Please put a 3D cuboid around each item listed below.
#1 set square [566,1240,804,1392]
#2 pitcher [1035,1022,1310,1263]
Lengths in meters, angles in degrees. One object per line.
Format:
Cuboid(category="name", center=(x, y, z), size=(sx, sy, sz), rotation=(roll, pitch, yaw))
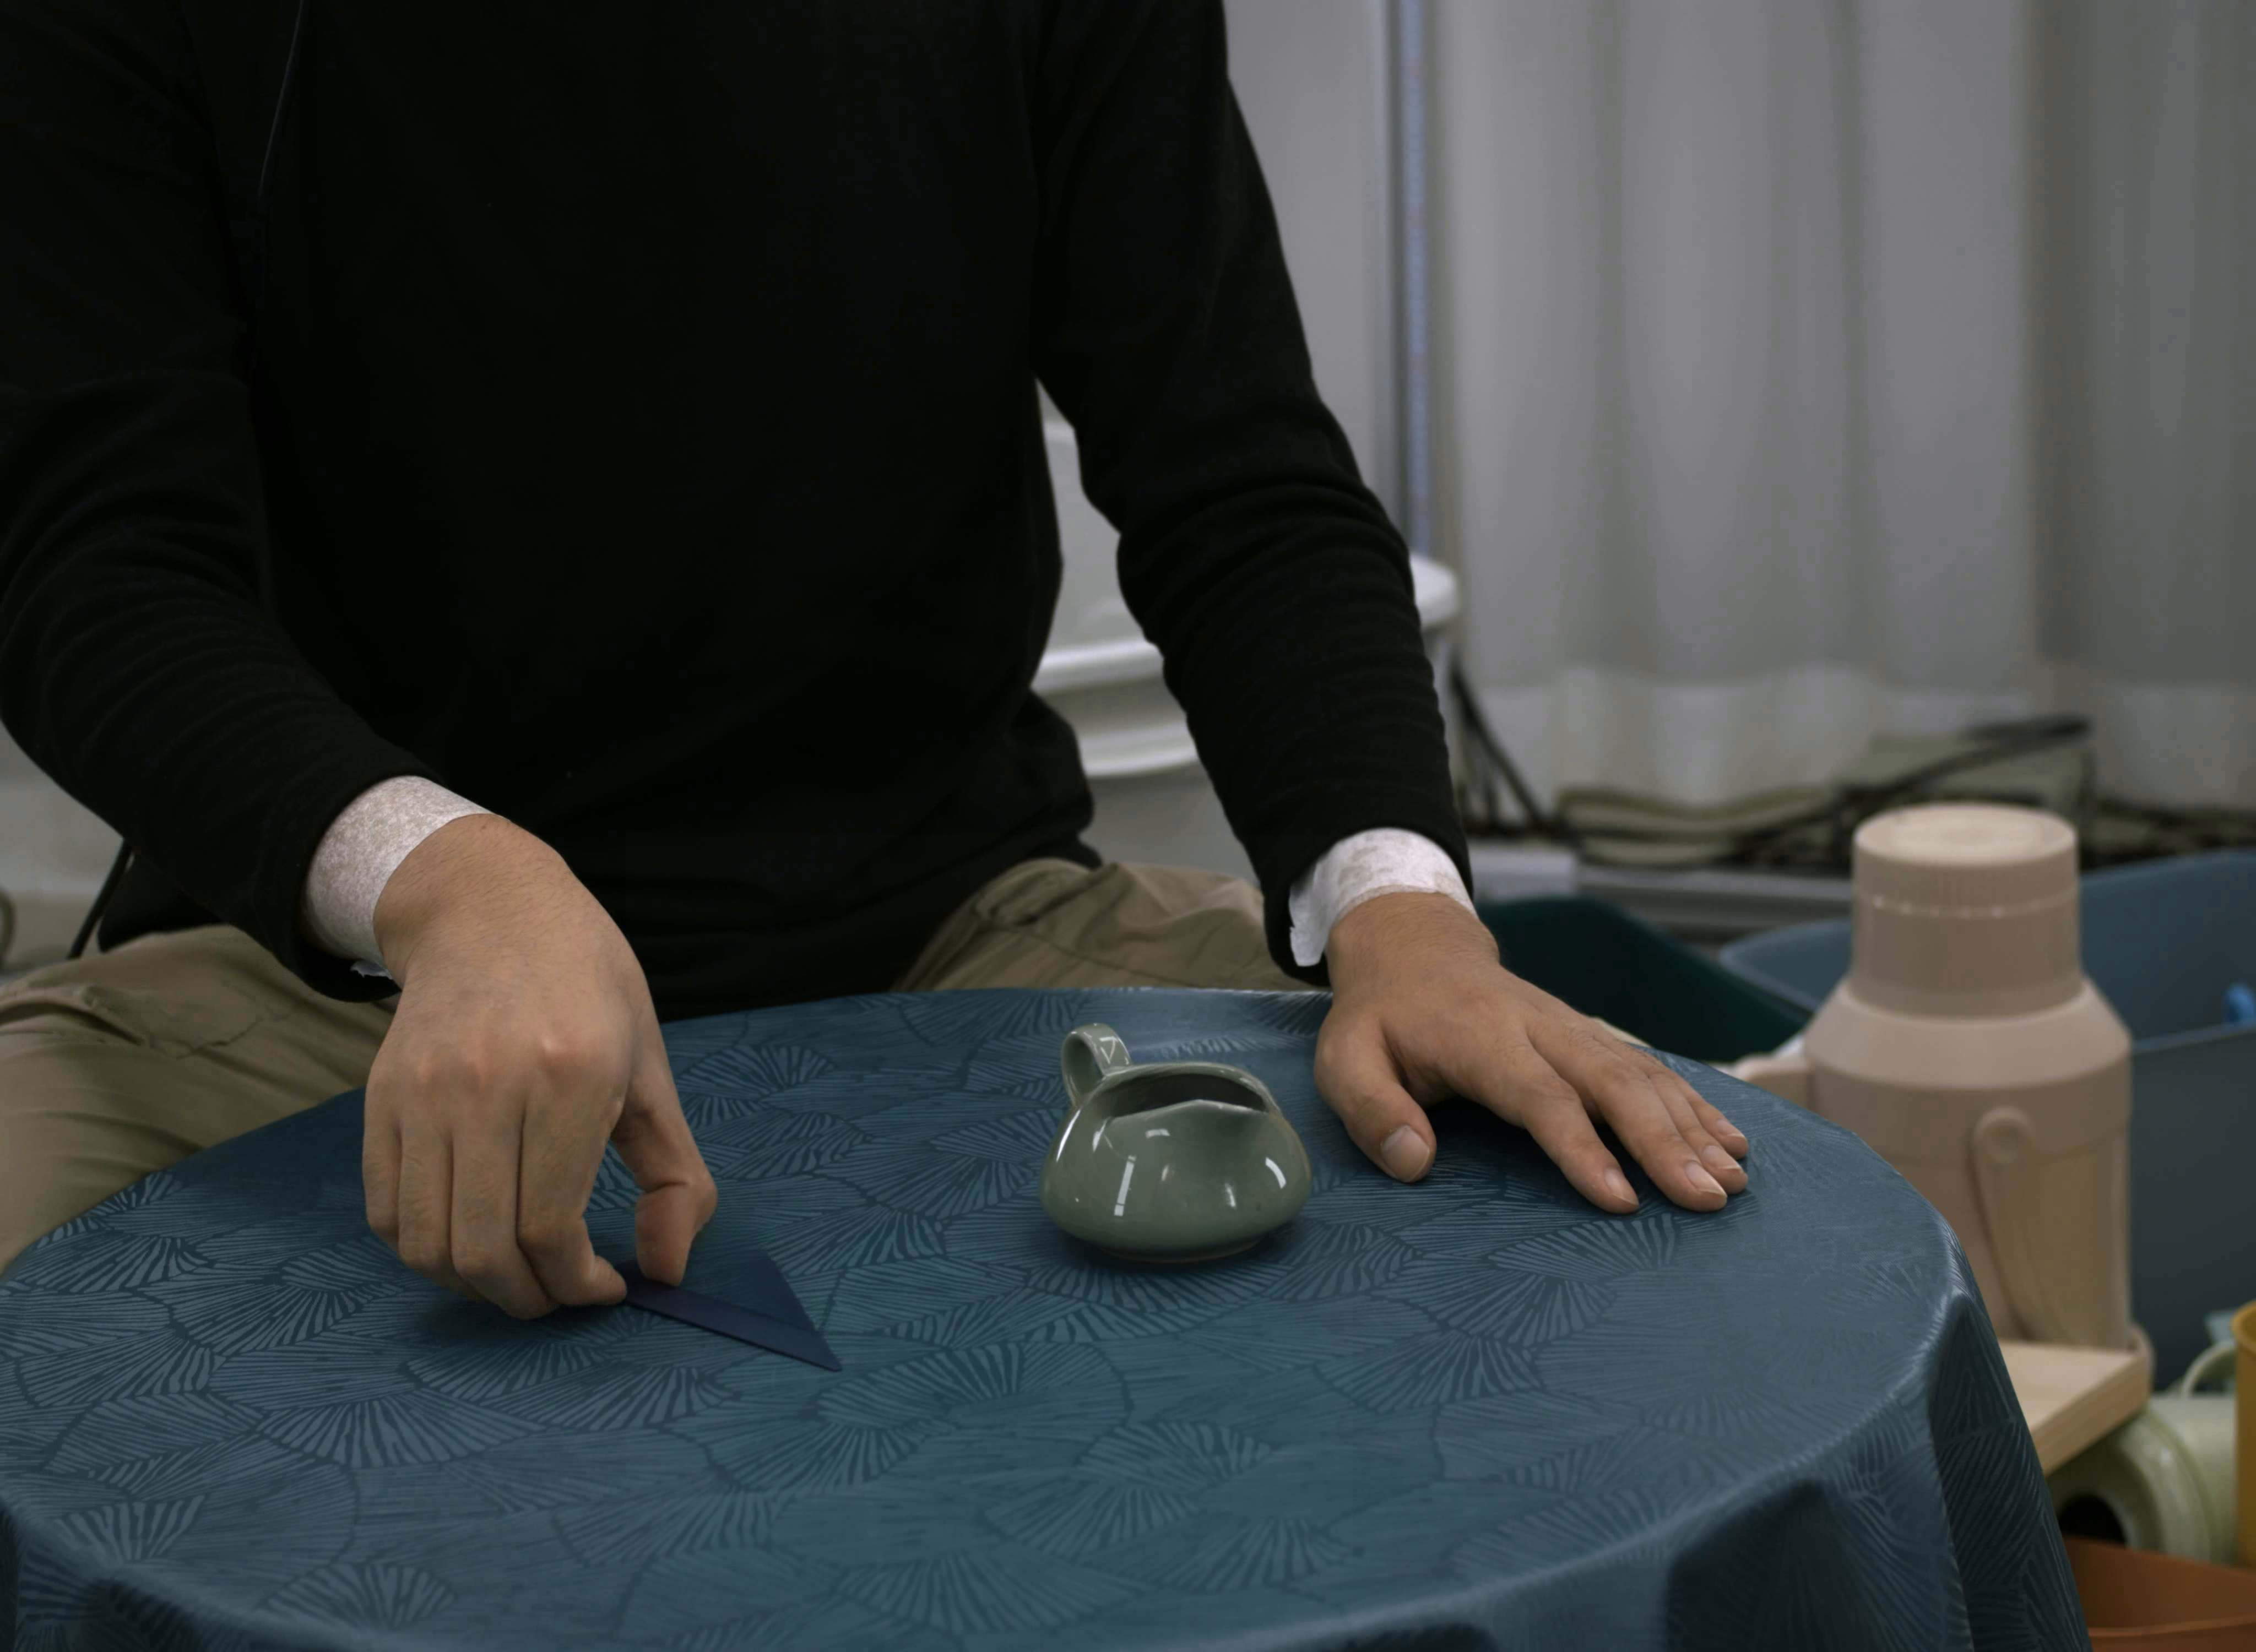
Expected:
Cuboid(category="set square", center=(-0.132, 0.145, 1.616), size=(0.061, 0.006, 0.133), rotation=(-4, 15, -11))
Cuboid(category="pitcher", center=(0.010, 0.097, 1.671), size=(0.084, 0.056, 0.113), rotation=(-8, 15, -28))
